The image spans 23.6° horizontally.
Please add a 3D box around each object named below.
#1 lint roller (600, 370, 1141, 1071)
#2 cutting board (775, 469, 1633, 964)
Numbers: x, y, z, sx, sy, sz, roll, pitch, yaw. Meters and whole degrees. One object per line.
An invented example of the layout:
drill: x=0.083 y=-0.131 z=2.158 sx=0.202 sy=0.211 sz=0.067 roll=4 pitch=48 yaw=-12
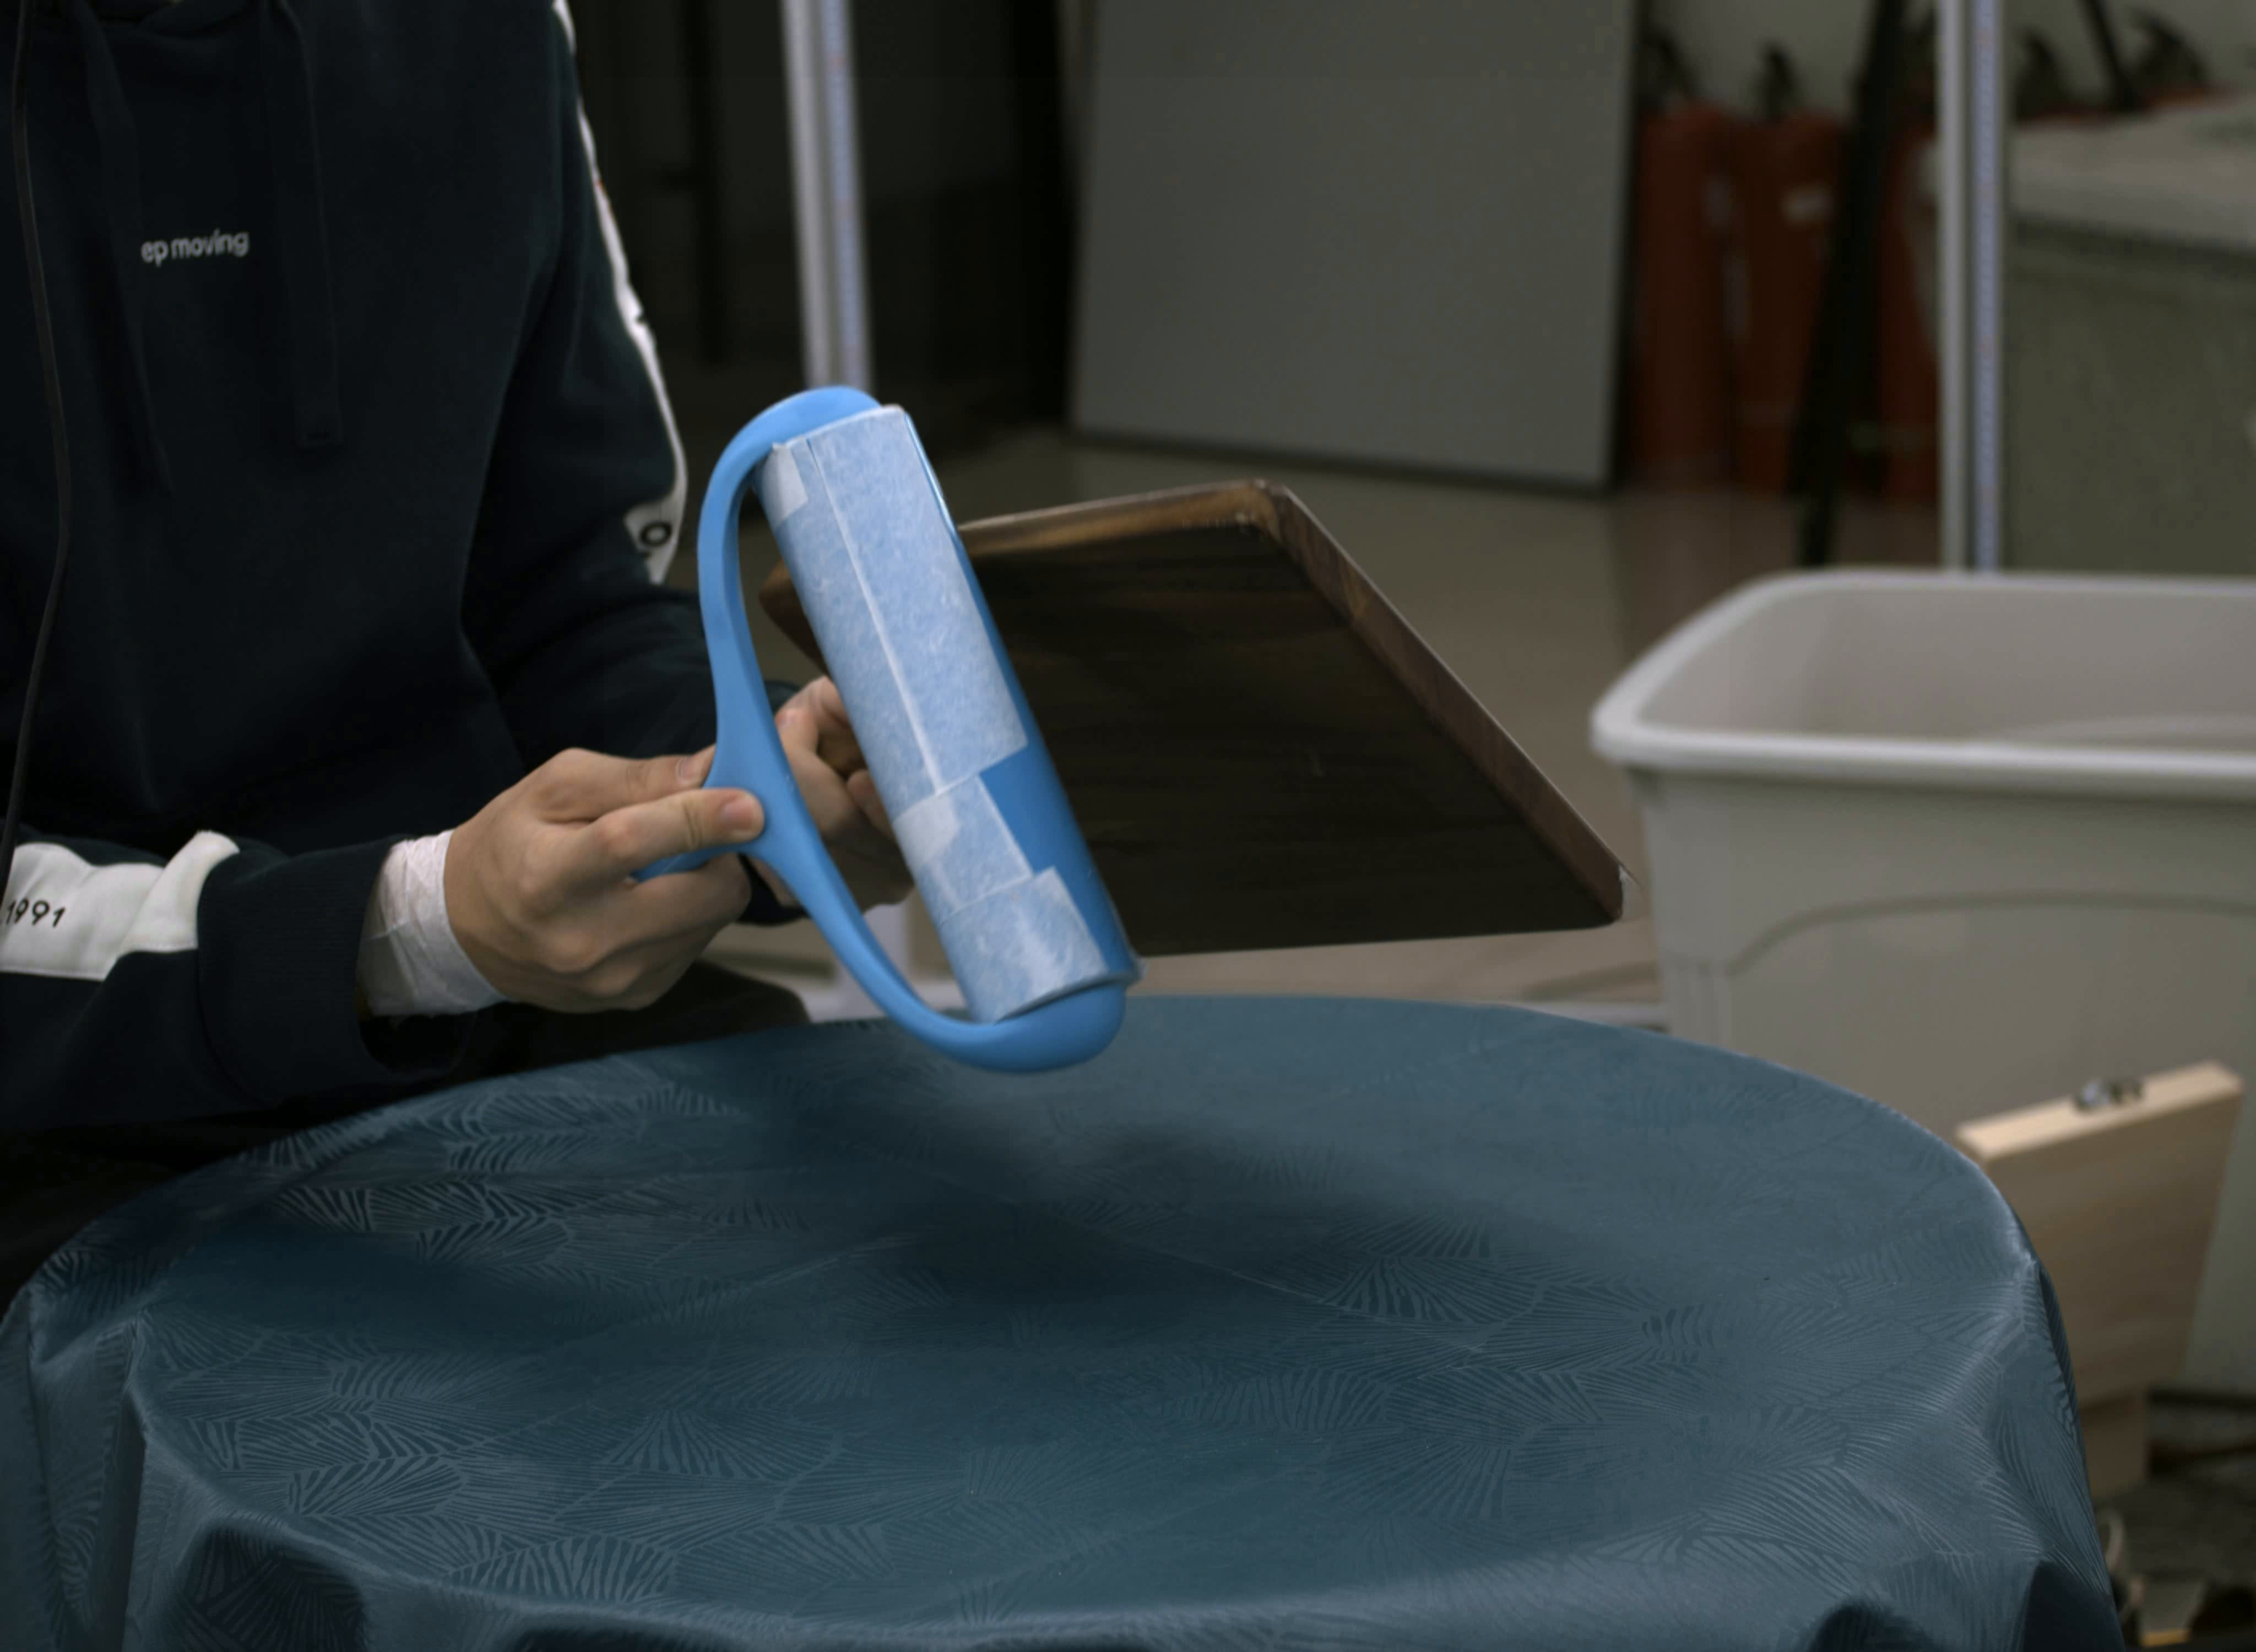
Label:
lint roller: x=-0.104 y=-0.006 z=1.682 sx=0.181 sy=0.231 sz=0.067 roll=-30 pitch=-13 yaw=23
cutting board: x=-0.013 y=-0.026 z=1.761 sx=0.355 sy=0.199 sz=0.023 roll=-6 pitch=45 yaw=50
